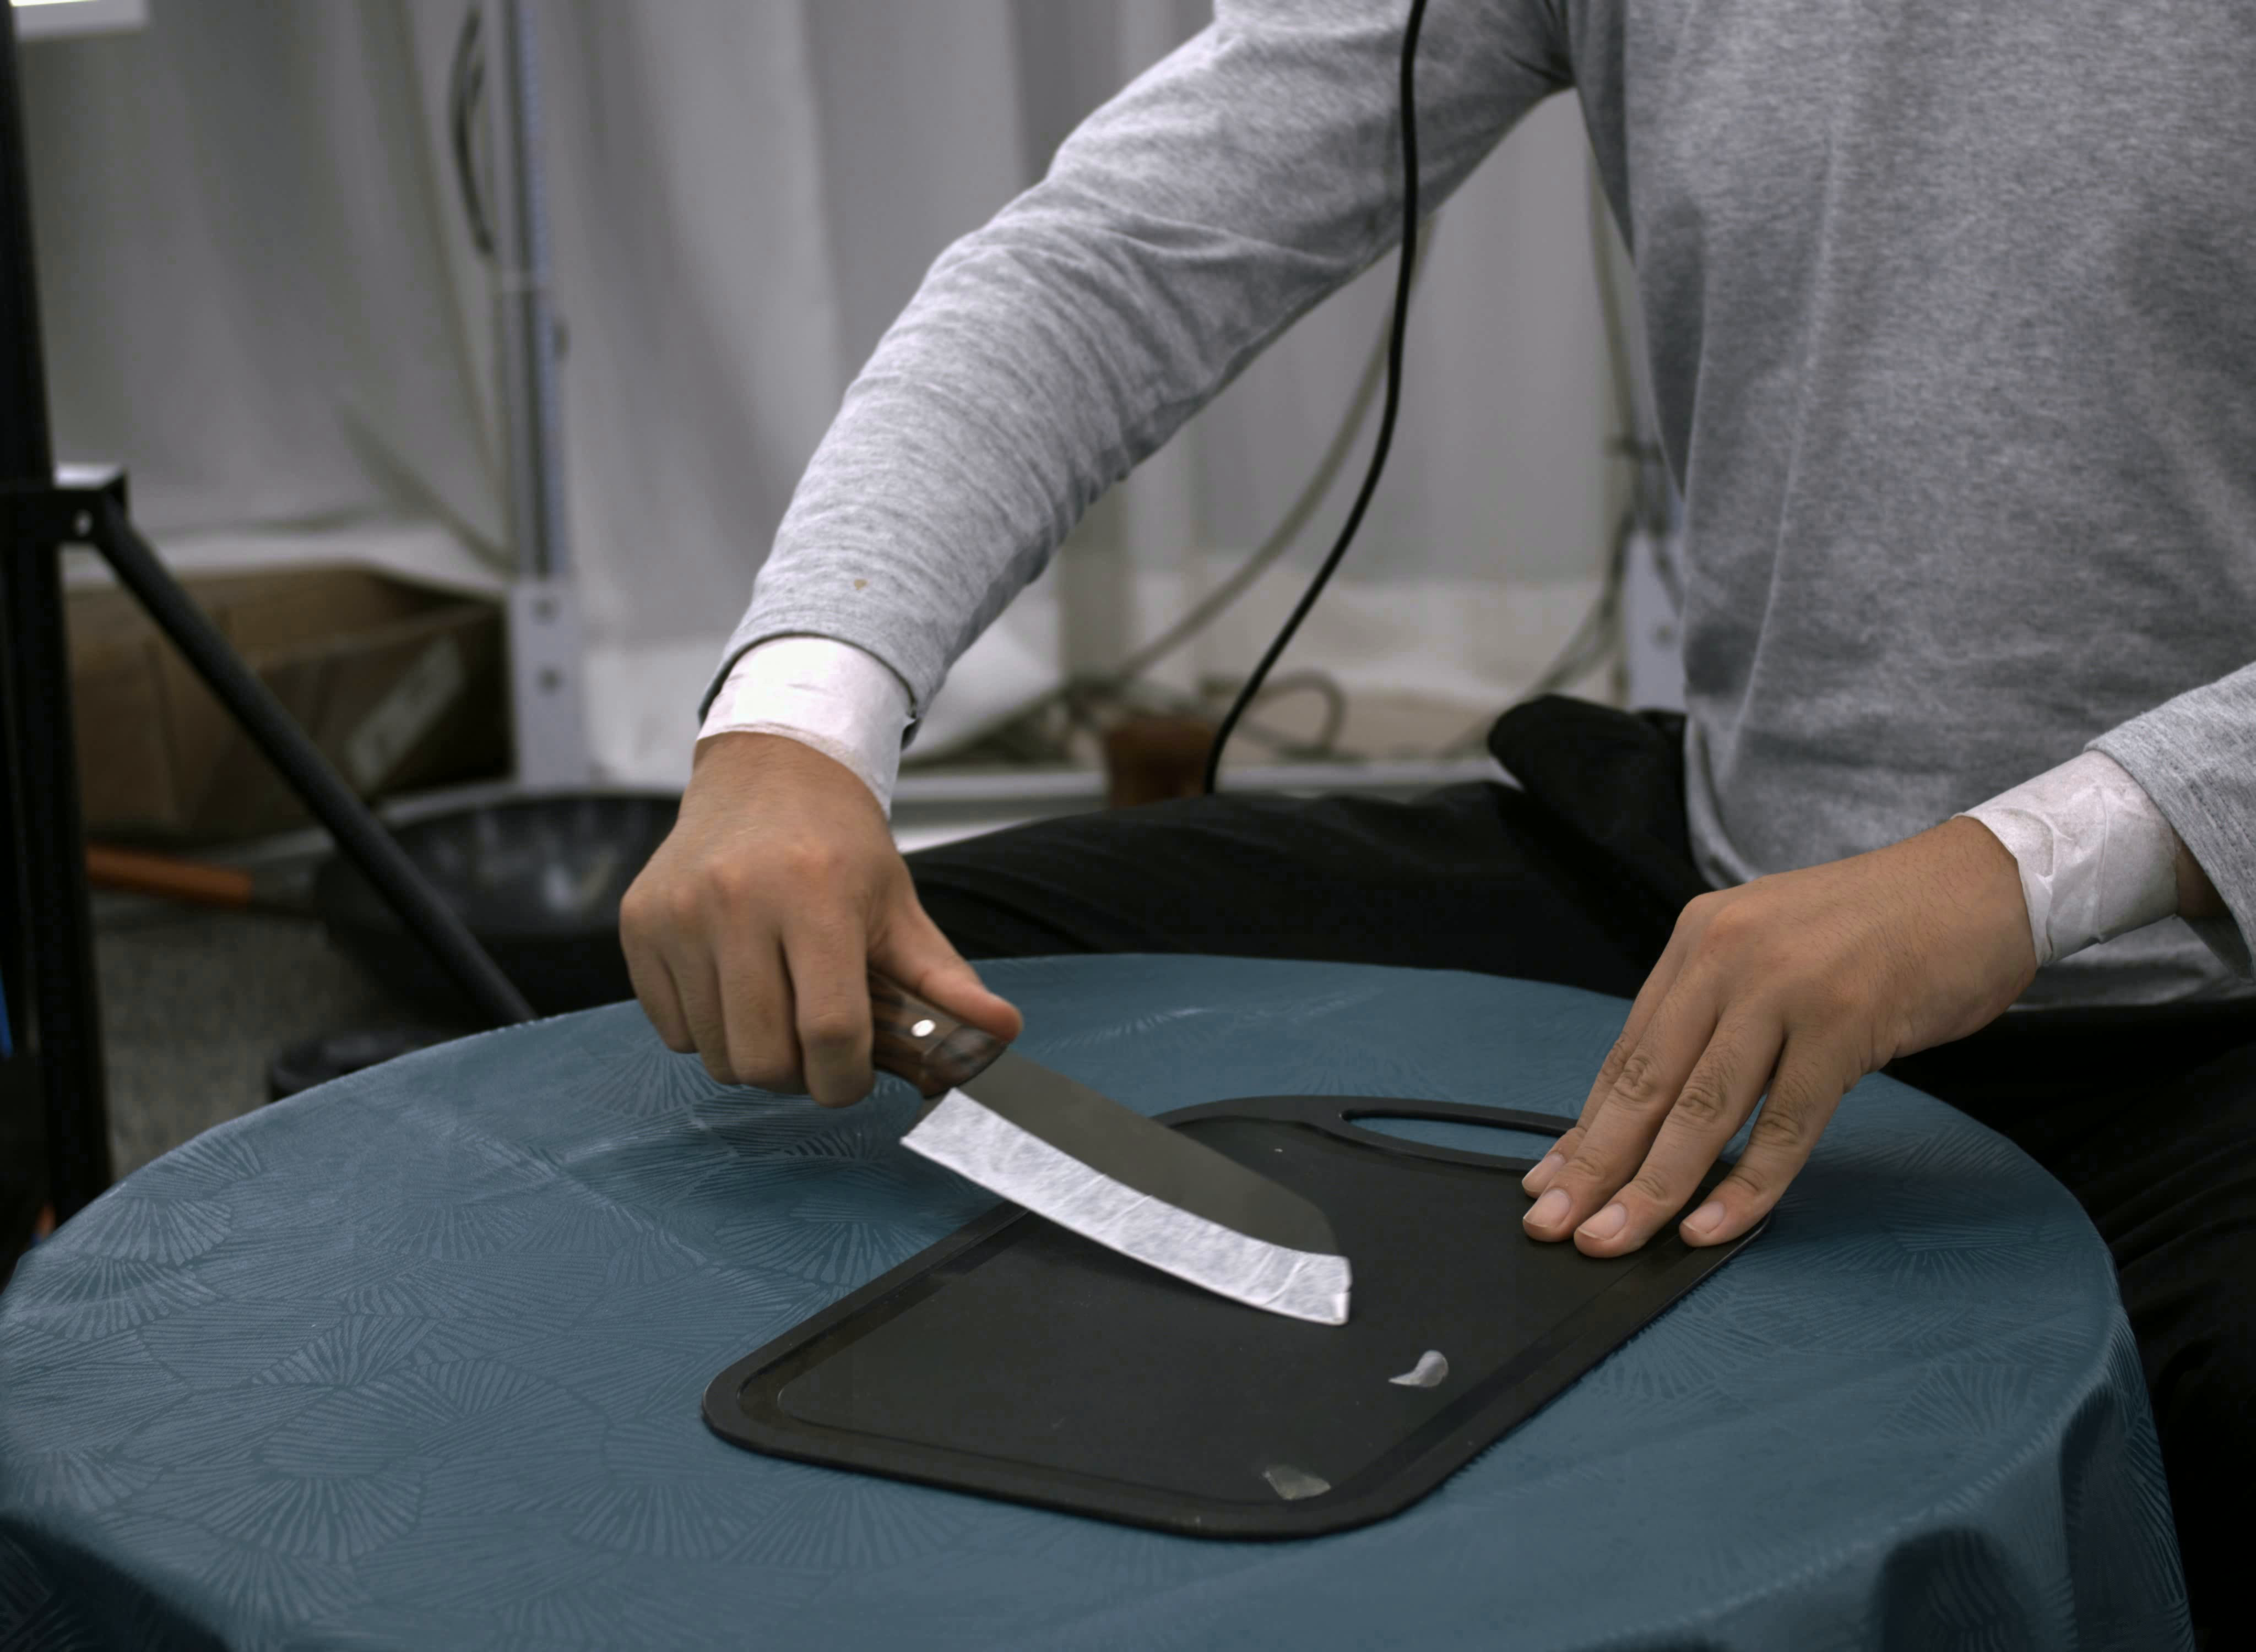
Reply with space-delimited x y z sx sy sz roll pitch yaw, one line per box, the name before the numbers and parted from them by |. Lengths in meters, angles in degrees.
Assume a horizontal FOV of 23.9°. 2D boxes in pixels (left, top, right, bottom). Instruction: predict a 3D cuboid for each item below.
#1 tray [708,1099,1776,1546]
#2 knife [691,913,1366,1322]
tray | 0.041 0.128 1.475 0.215 0.010 0.319 8 18 31
knife | -0.033 0.084 1.546 0.050 0.020 0.296 -44 44 -20
